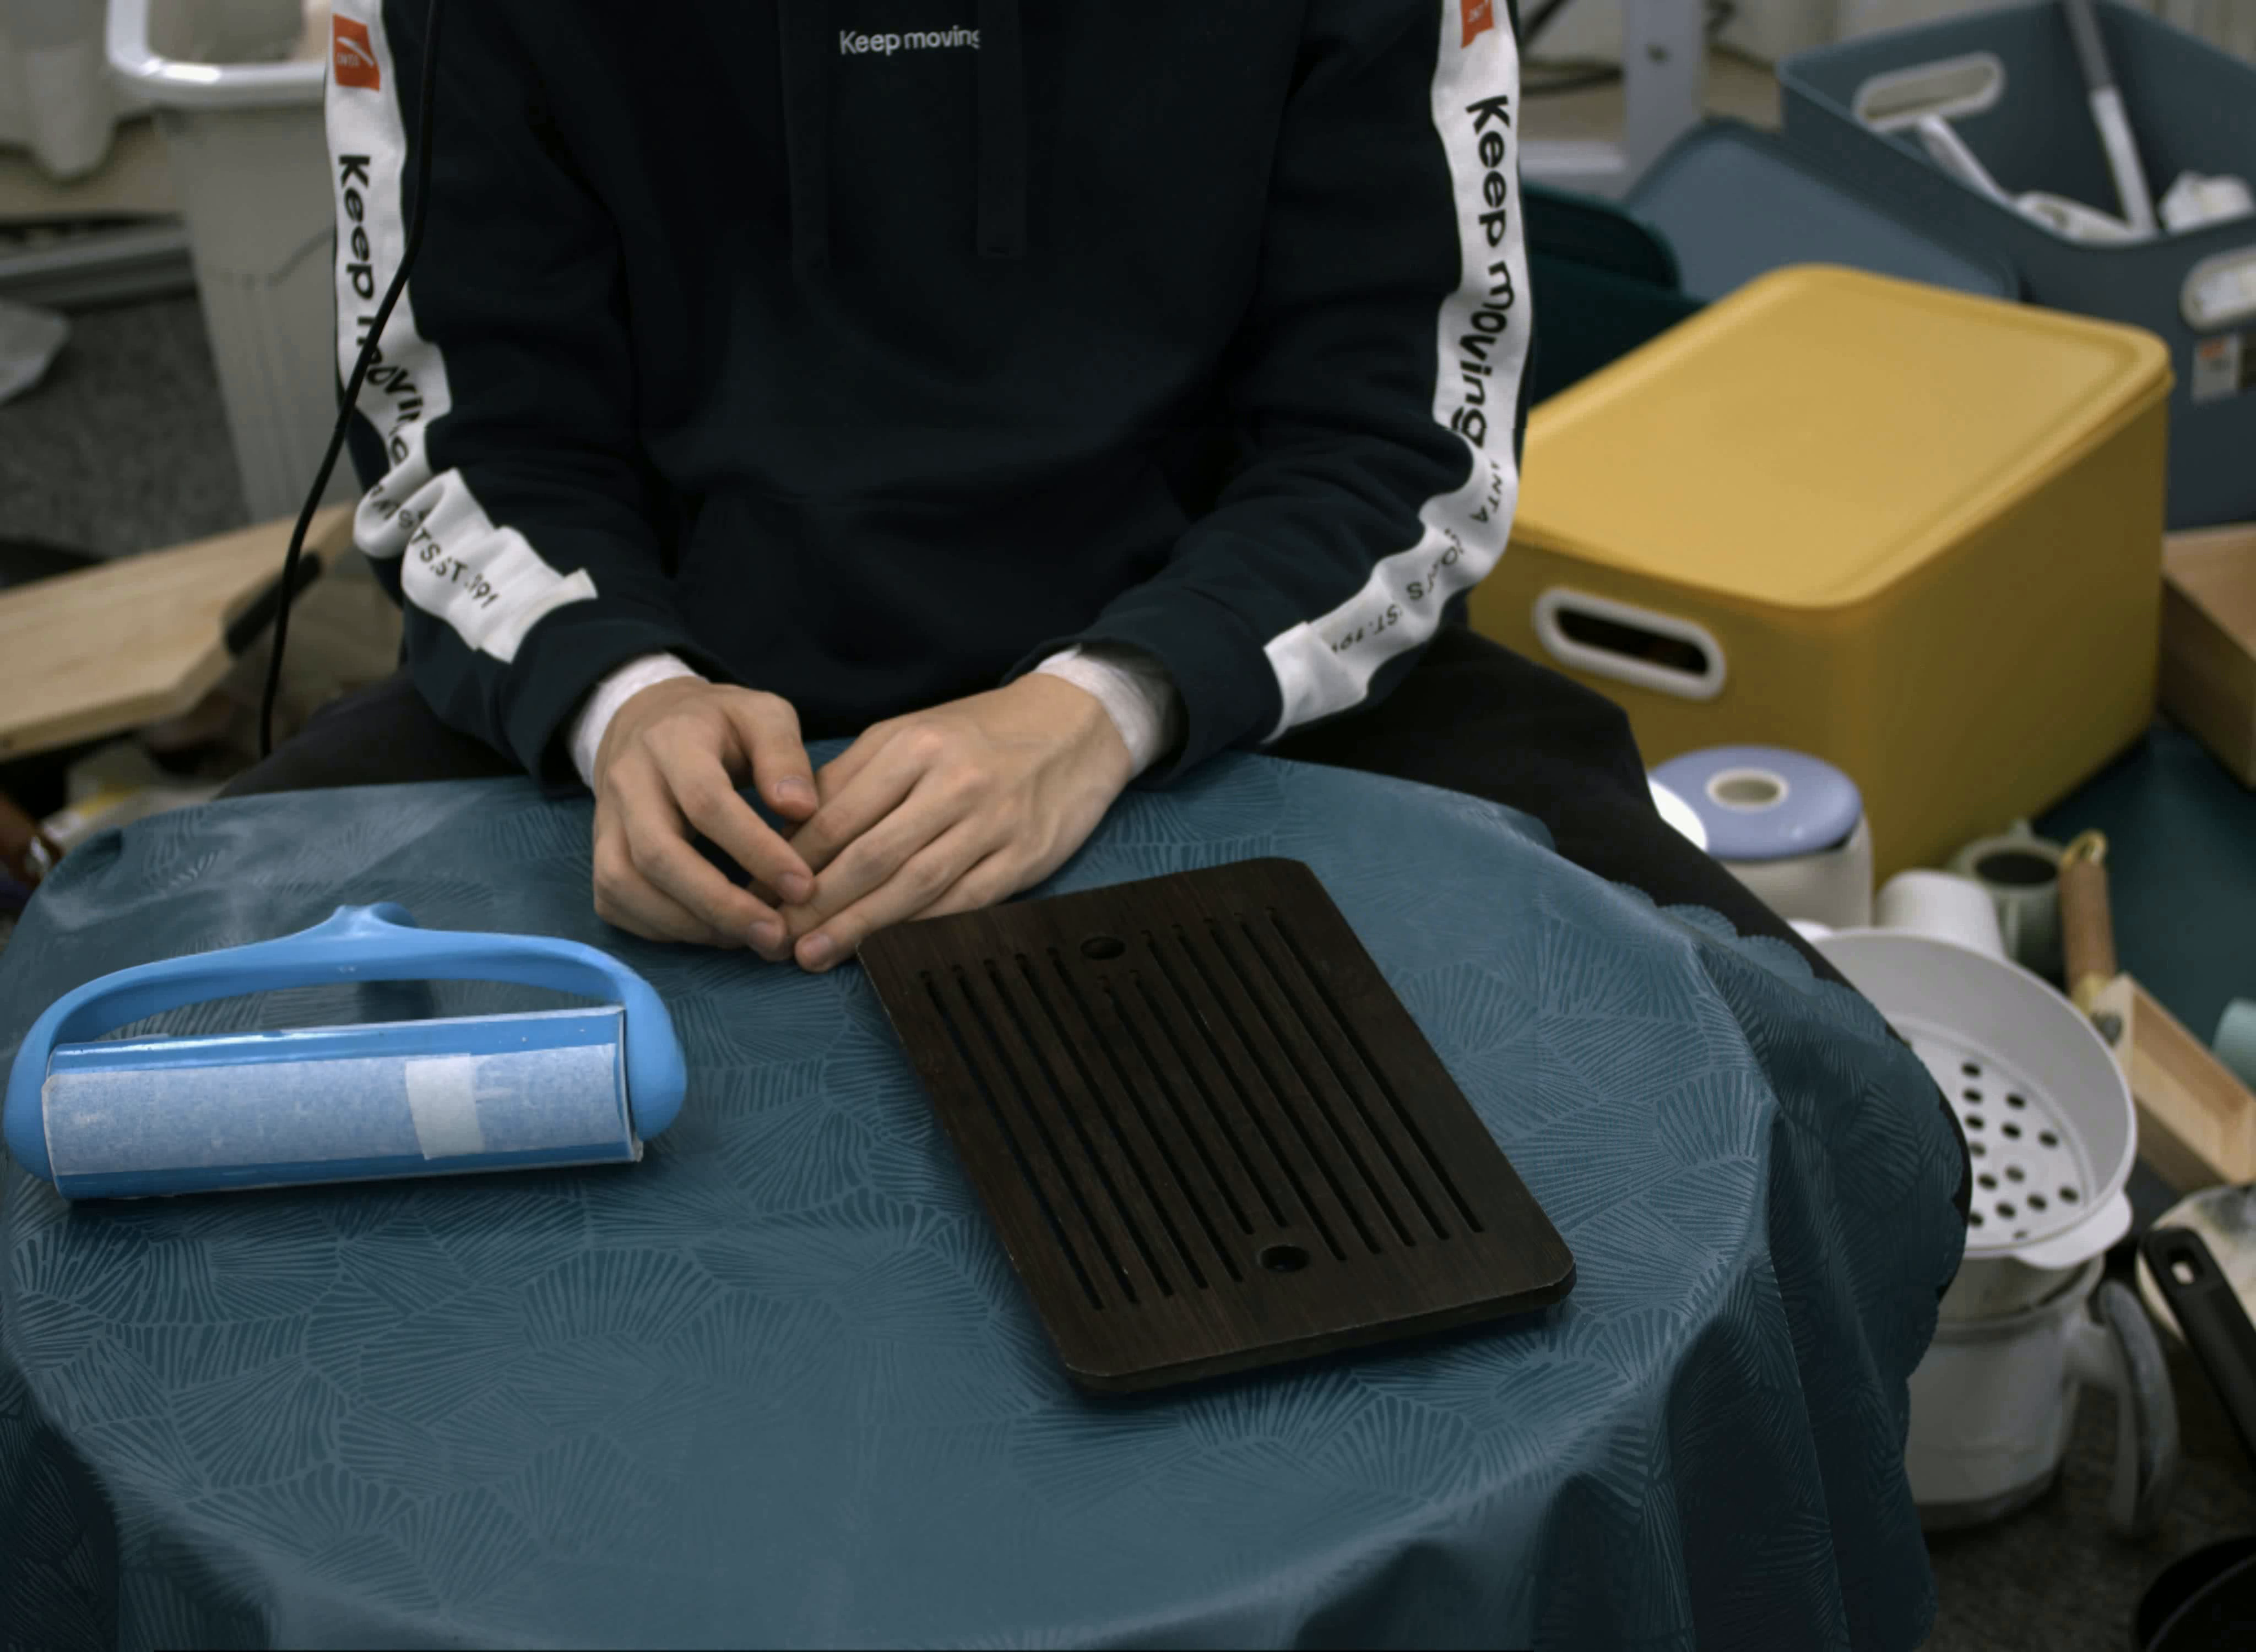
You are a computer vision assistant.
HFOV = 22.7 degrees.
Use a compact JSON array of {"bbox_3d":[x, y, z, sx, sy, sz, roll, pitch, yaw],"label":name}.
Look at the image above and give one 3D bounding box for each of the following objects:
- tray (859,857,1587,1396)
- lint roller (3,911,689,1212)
[{"bbox_3d":[0.025,0.097,1.885,0.170,0.018,0.309,-10,28,-13],"label":"tray"},{"bbox_3d":[-0.267,0.065,1.933,0.228,0.067,0.183,-7,29,-3],"label":"lint roller"}]
